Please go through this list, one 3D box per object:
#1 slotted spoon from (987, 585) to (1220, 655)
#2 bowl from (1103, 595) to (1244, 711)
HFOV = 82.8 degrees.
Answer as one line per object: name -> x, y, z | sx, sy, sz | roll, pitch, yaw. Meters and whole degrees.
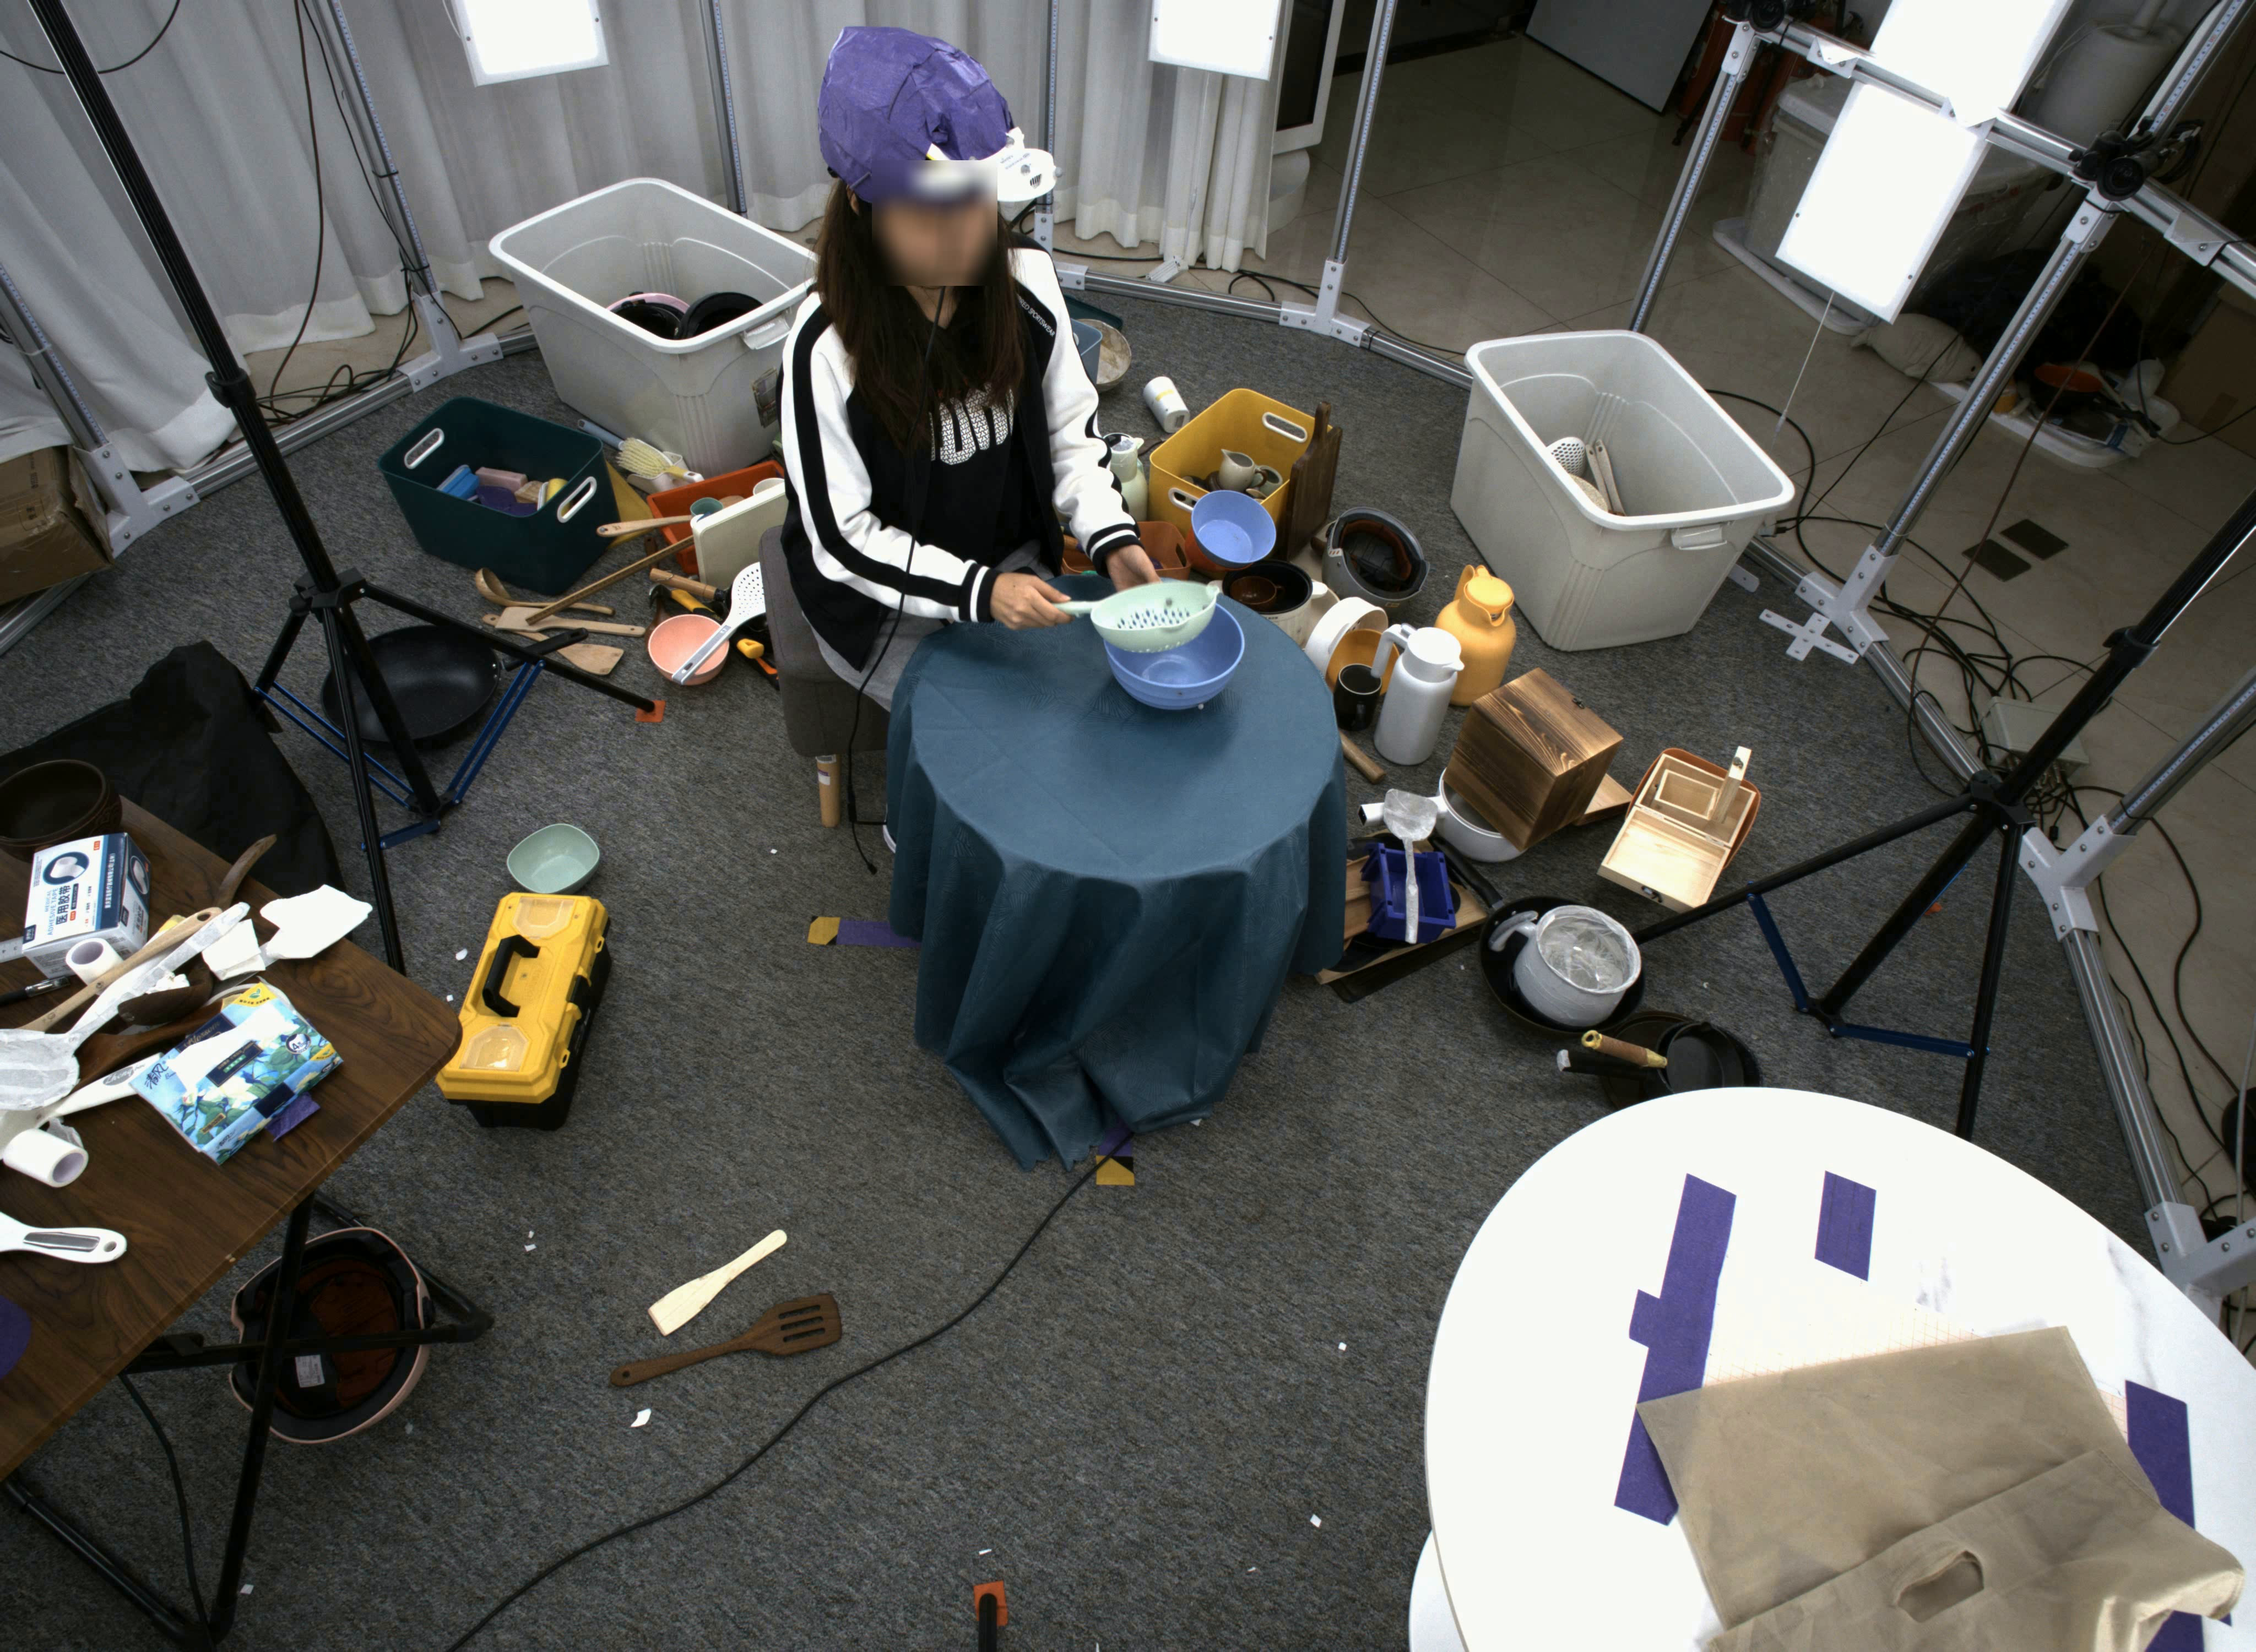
slotted spoon -> -0.048, -0.292, 1.778 | 0.361, 0.074, 0.171 | 13, 34, 26
bowl -> 0.061, -0.232, 1.815 | 0.196, 0.093, 0.201 | 1, 49, -2
